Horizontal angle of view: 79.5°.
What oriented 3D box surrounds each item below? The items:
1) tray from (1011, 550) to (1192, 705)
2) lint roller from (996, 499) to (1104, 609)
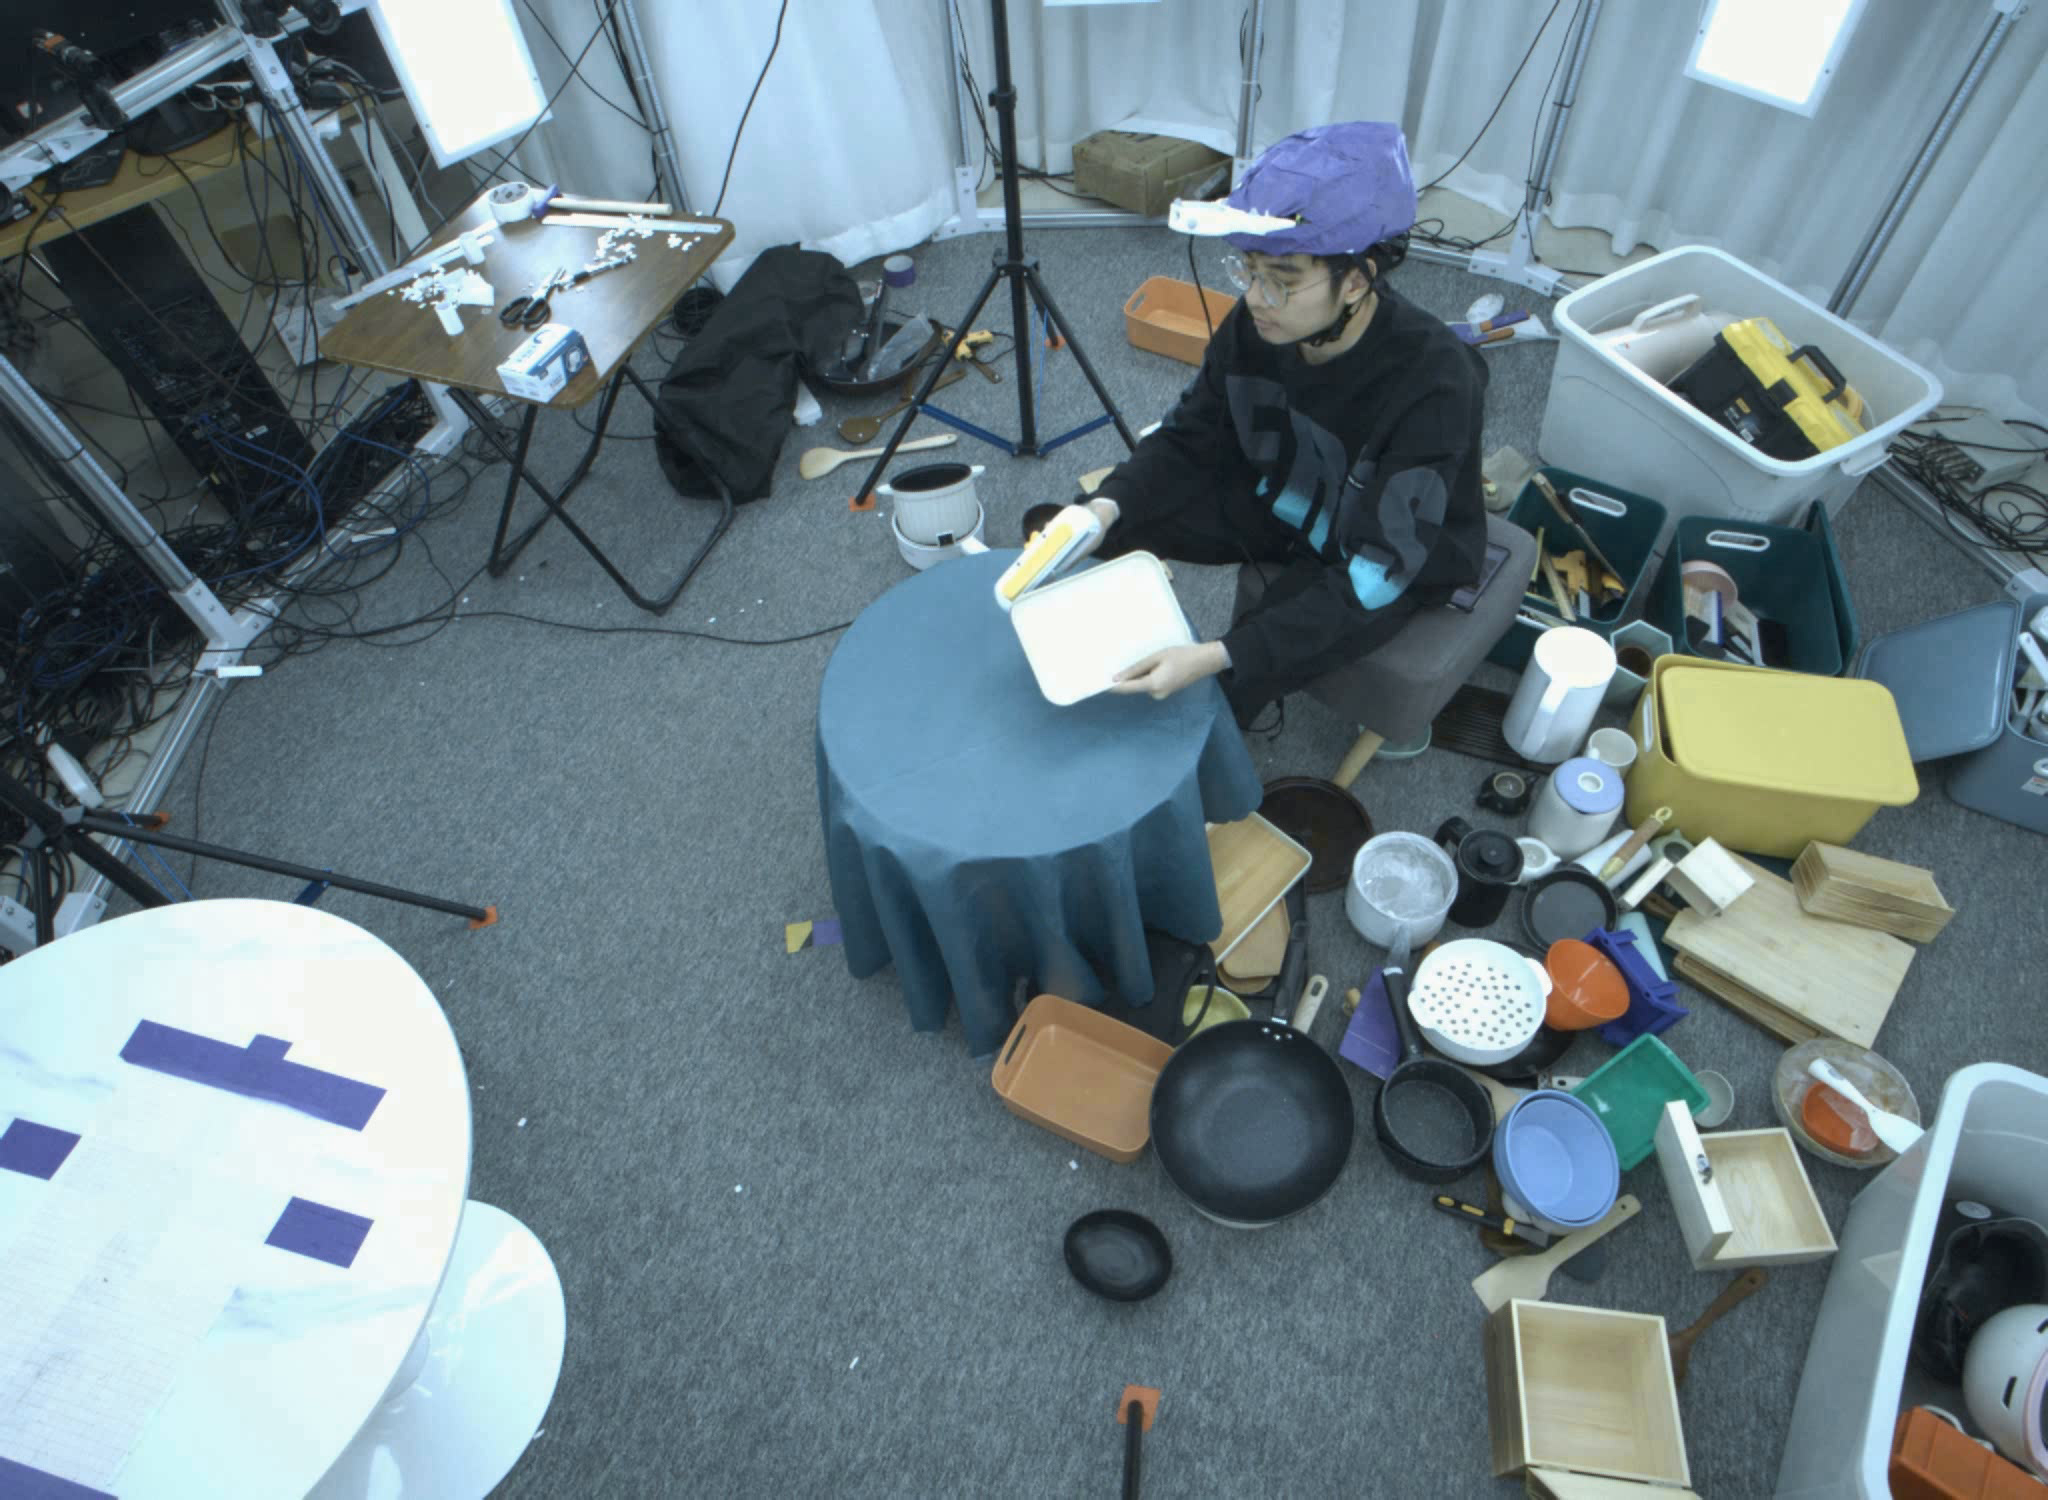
[{"bbox_3d":[0.111,-0.175,1.762,0.241,0.017,0.171,-23,90,-14],"label":"tray"},{"bbox_3d":[0.050,-0.295,1.823,0.074,0.194,0.192,44,110,9],"label":"lint roller"}]
